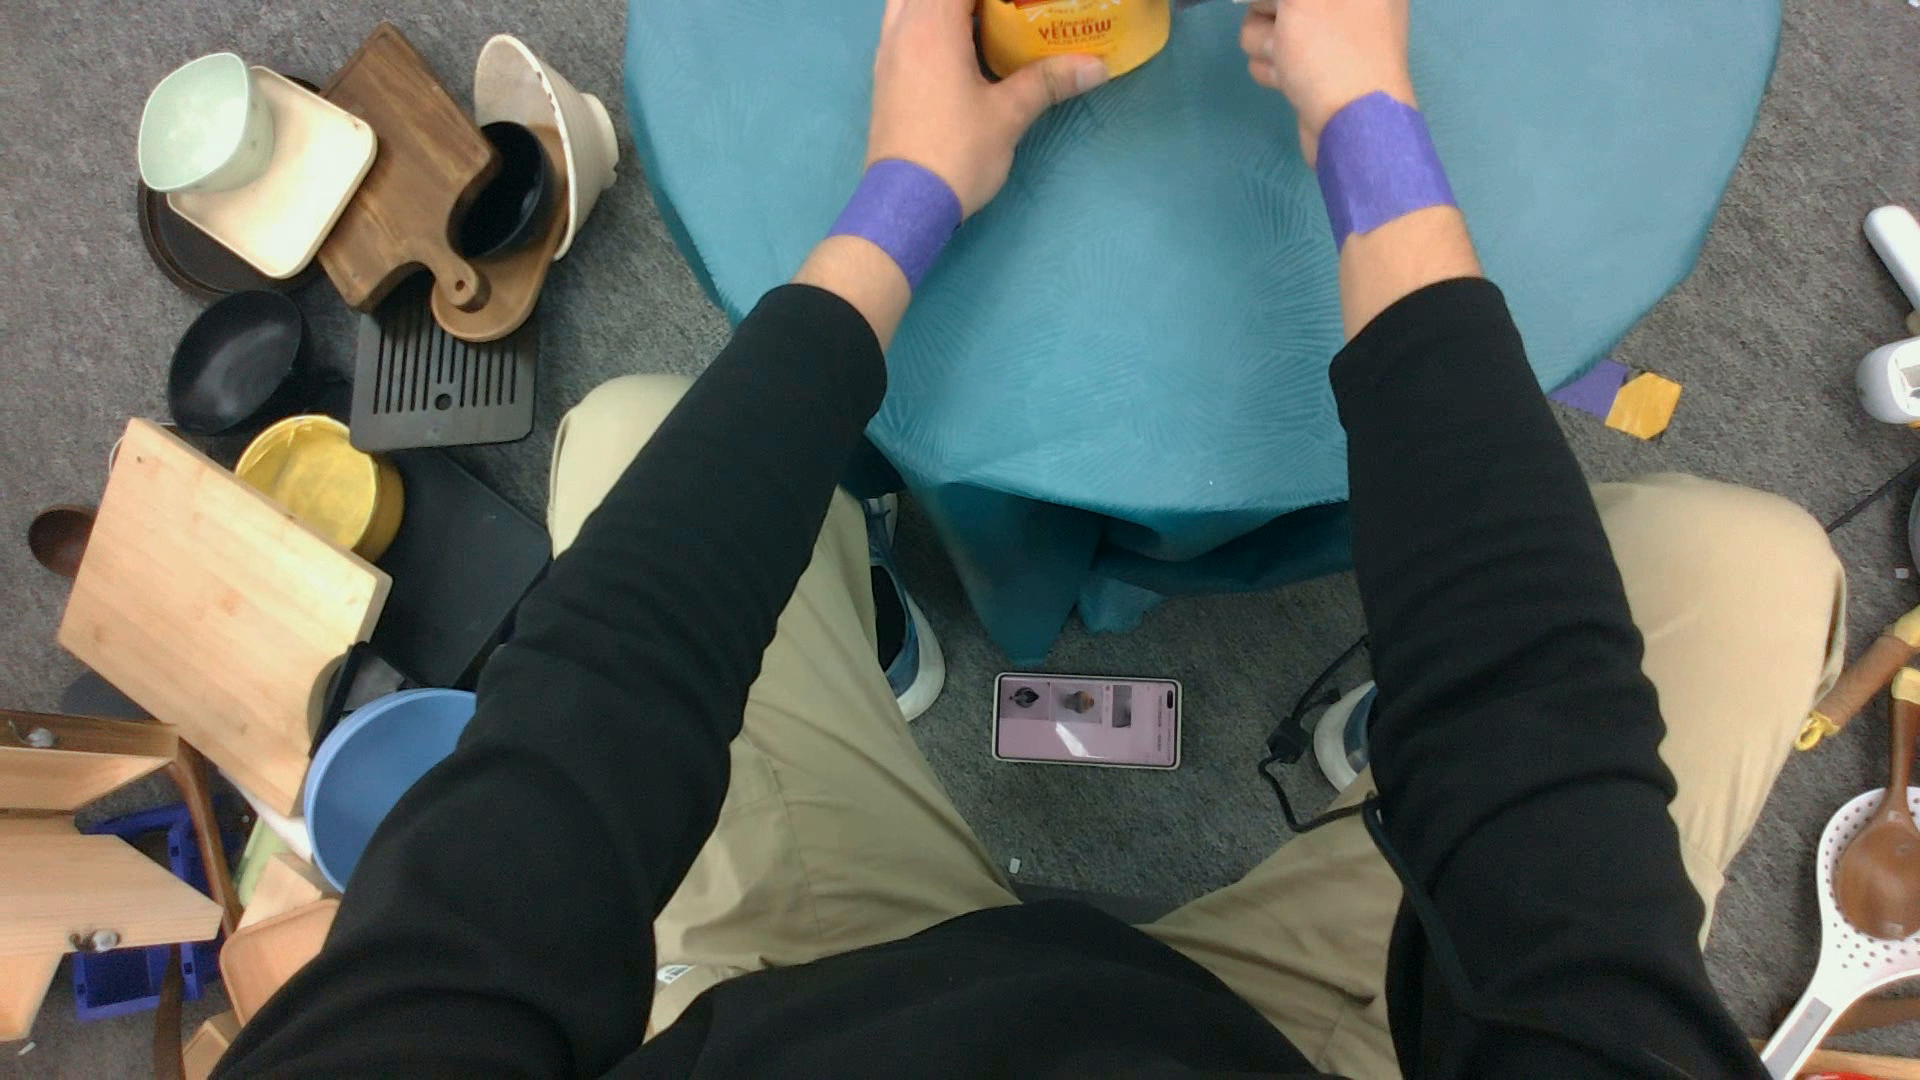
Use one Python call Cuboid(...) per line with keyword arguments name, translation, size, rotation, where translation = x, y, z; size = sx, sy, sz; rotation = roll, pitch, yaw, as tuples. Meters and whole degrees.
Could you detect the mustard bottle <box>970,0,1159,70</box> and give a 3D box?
Cuboid(name="mustard bottle", translation=(0.047, -0.280, 0.643), size=(0.098, 0.172, 0.059), rotation=(-11, 86, 4))
